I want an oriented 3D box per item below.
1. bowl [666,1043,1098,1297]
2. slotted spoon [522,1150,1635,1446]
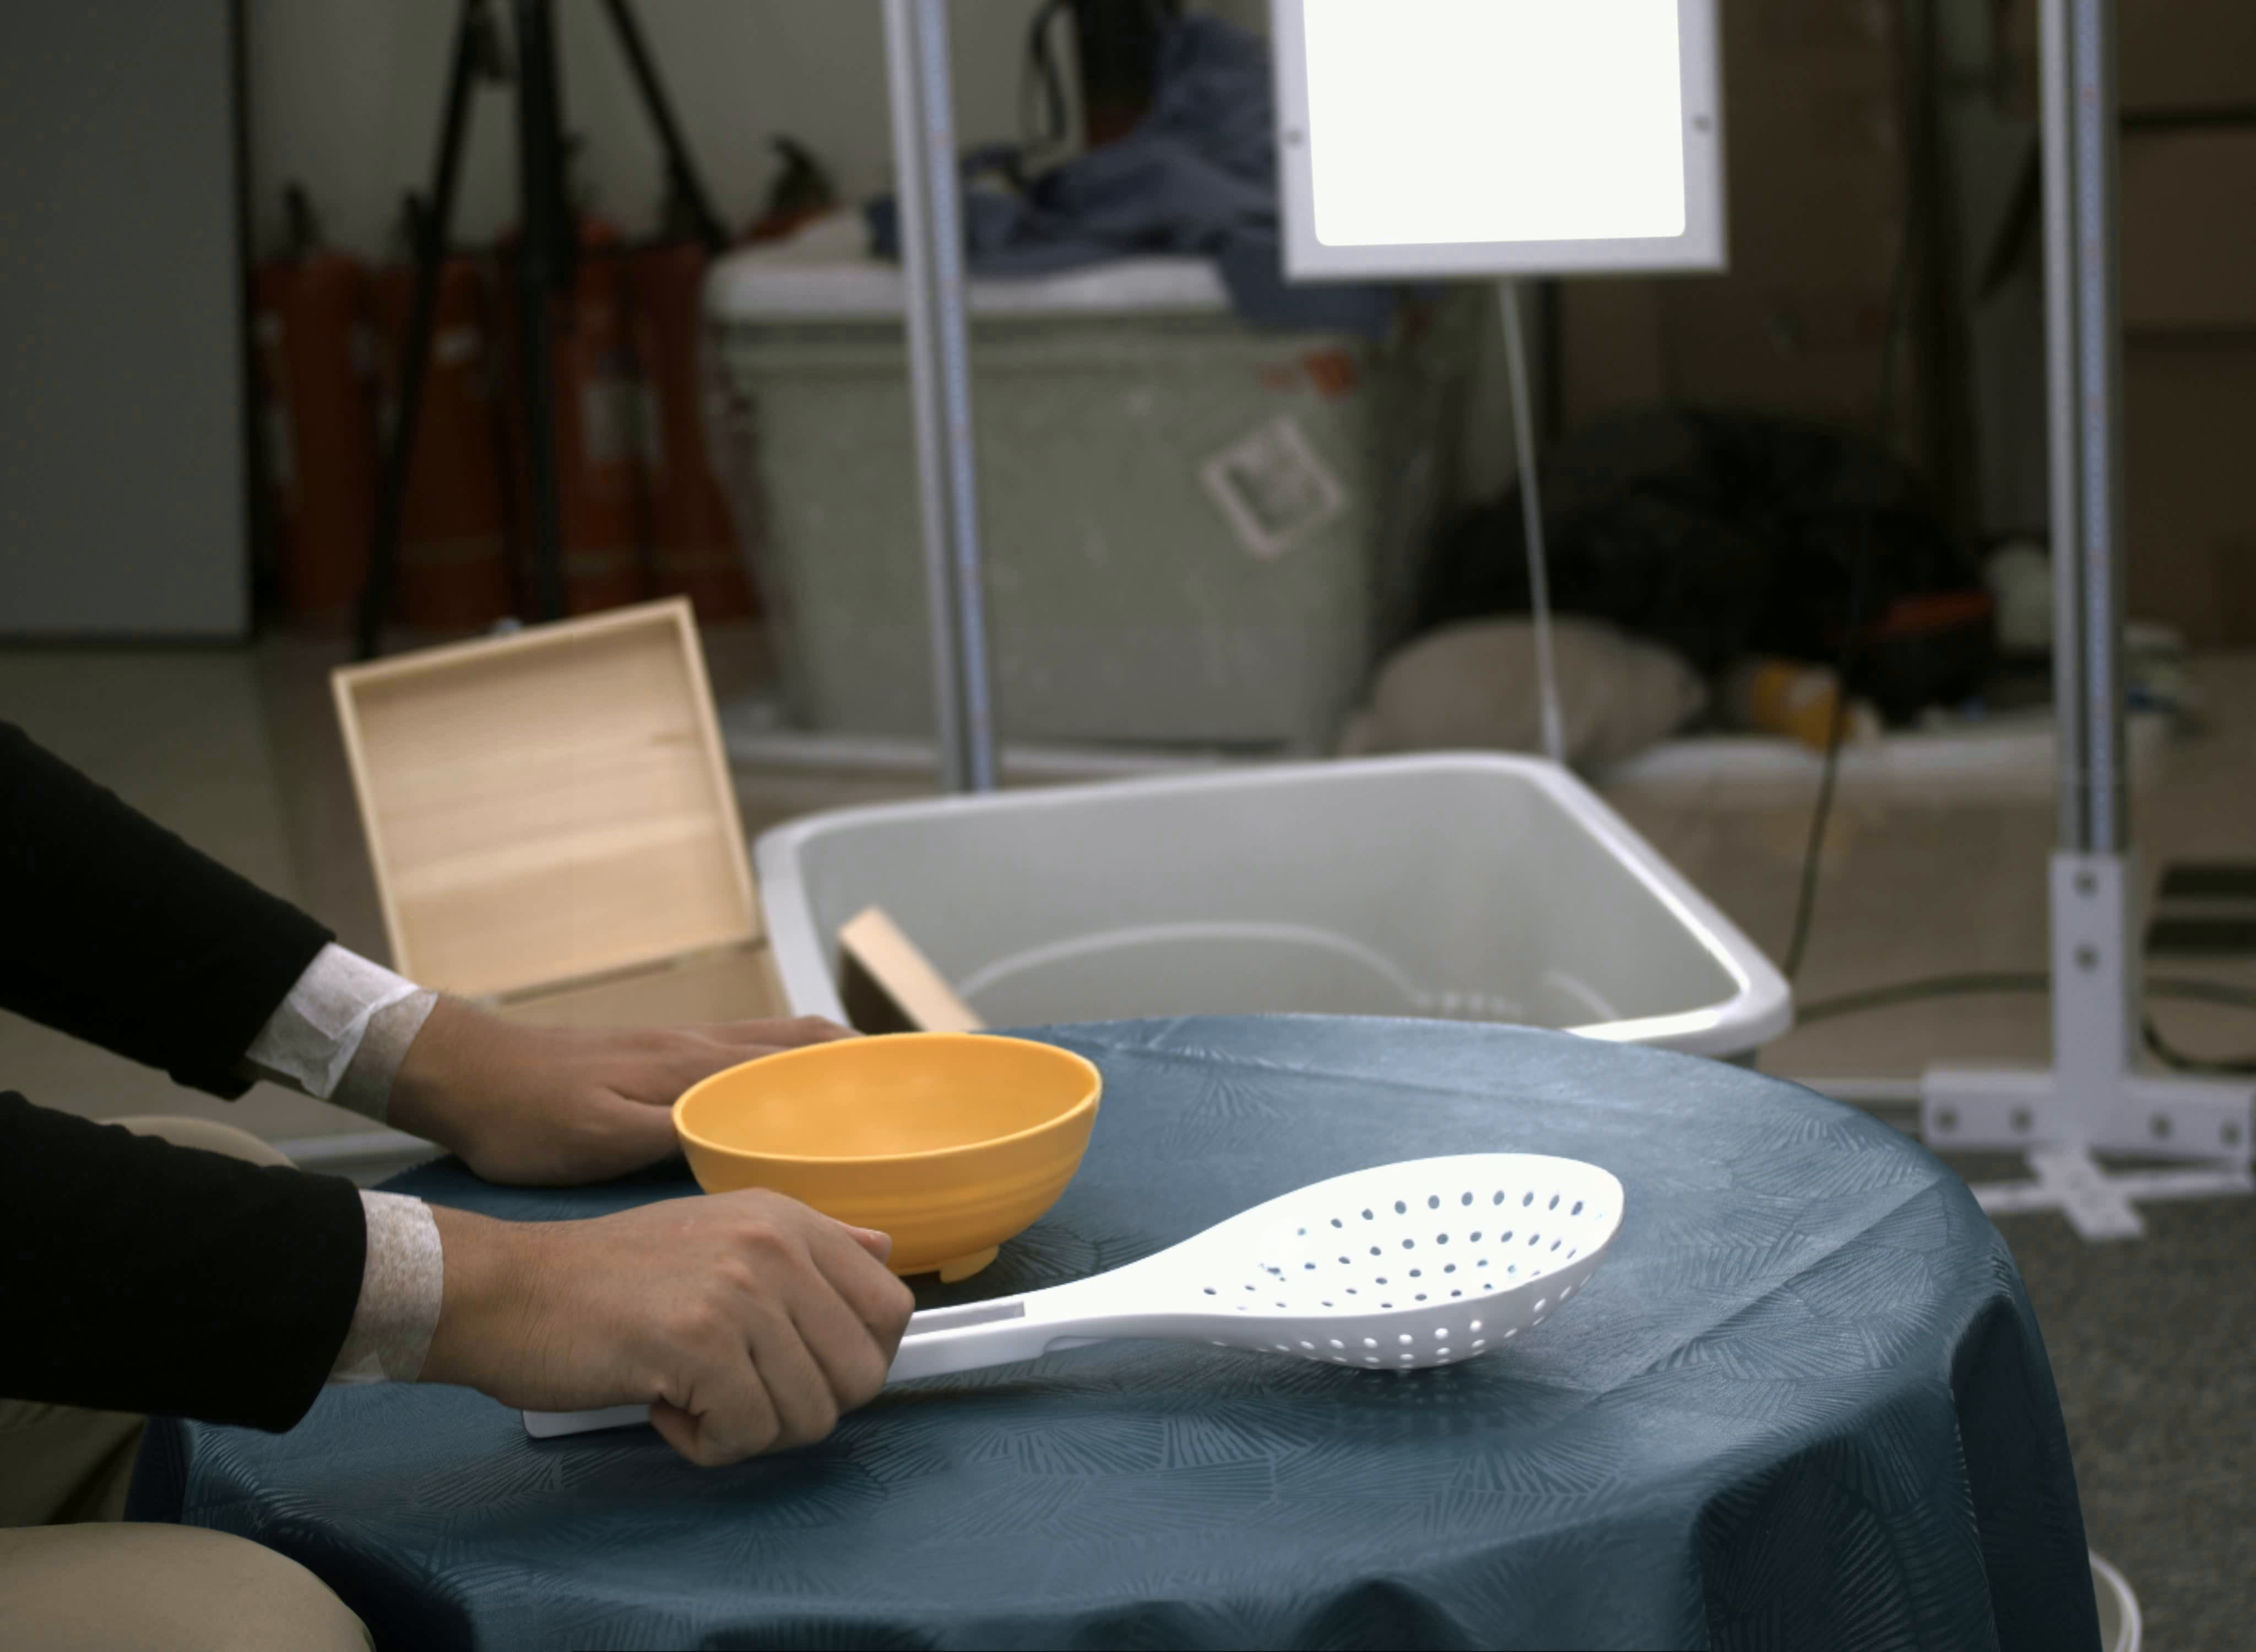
[{"bbox_3d":[-0.081,0.119,1.842,0.145,0.060,0.145,-3,13,-1],"label":"bowl"},{"bbox_3d":[-0.015,0.151,1.706,0.349,0.046,0.136,-6,15,1],"label":"slotted spoon"}]
